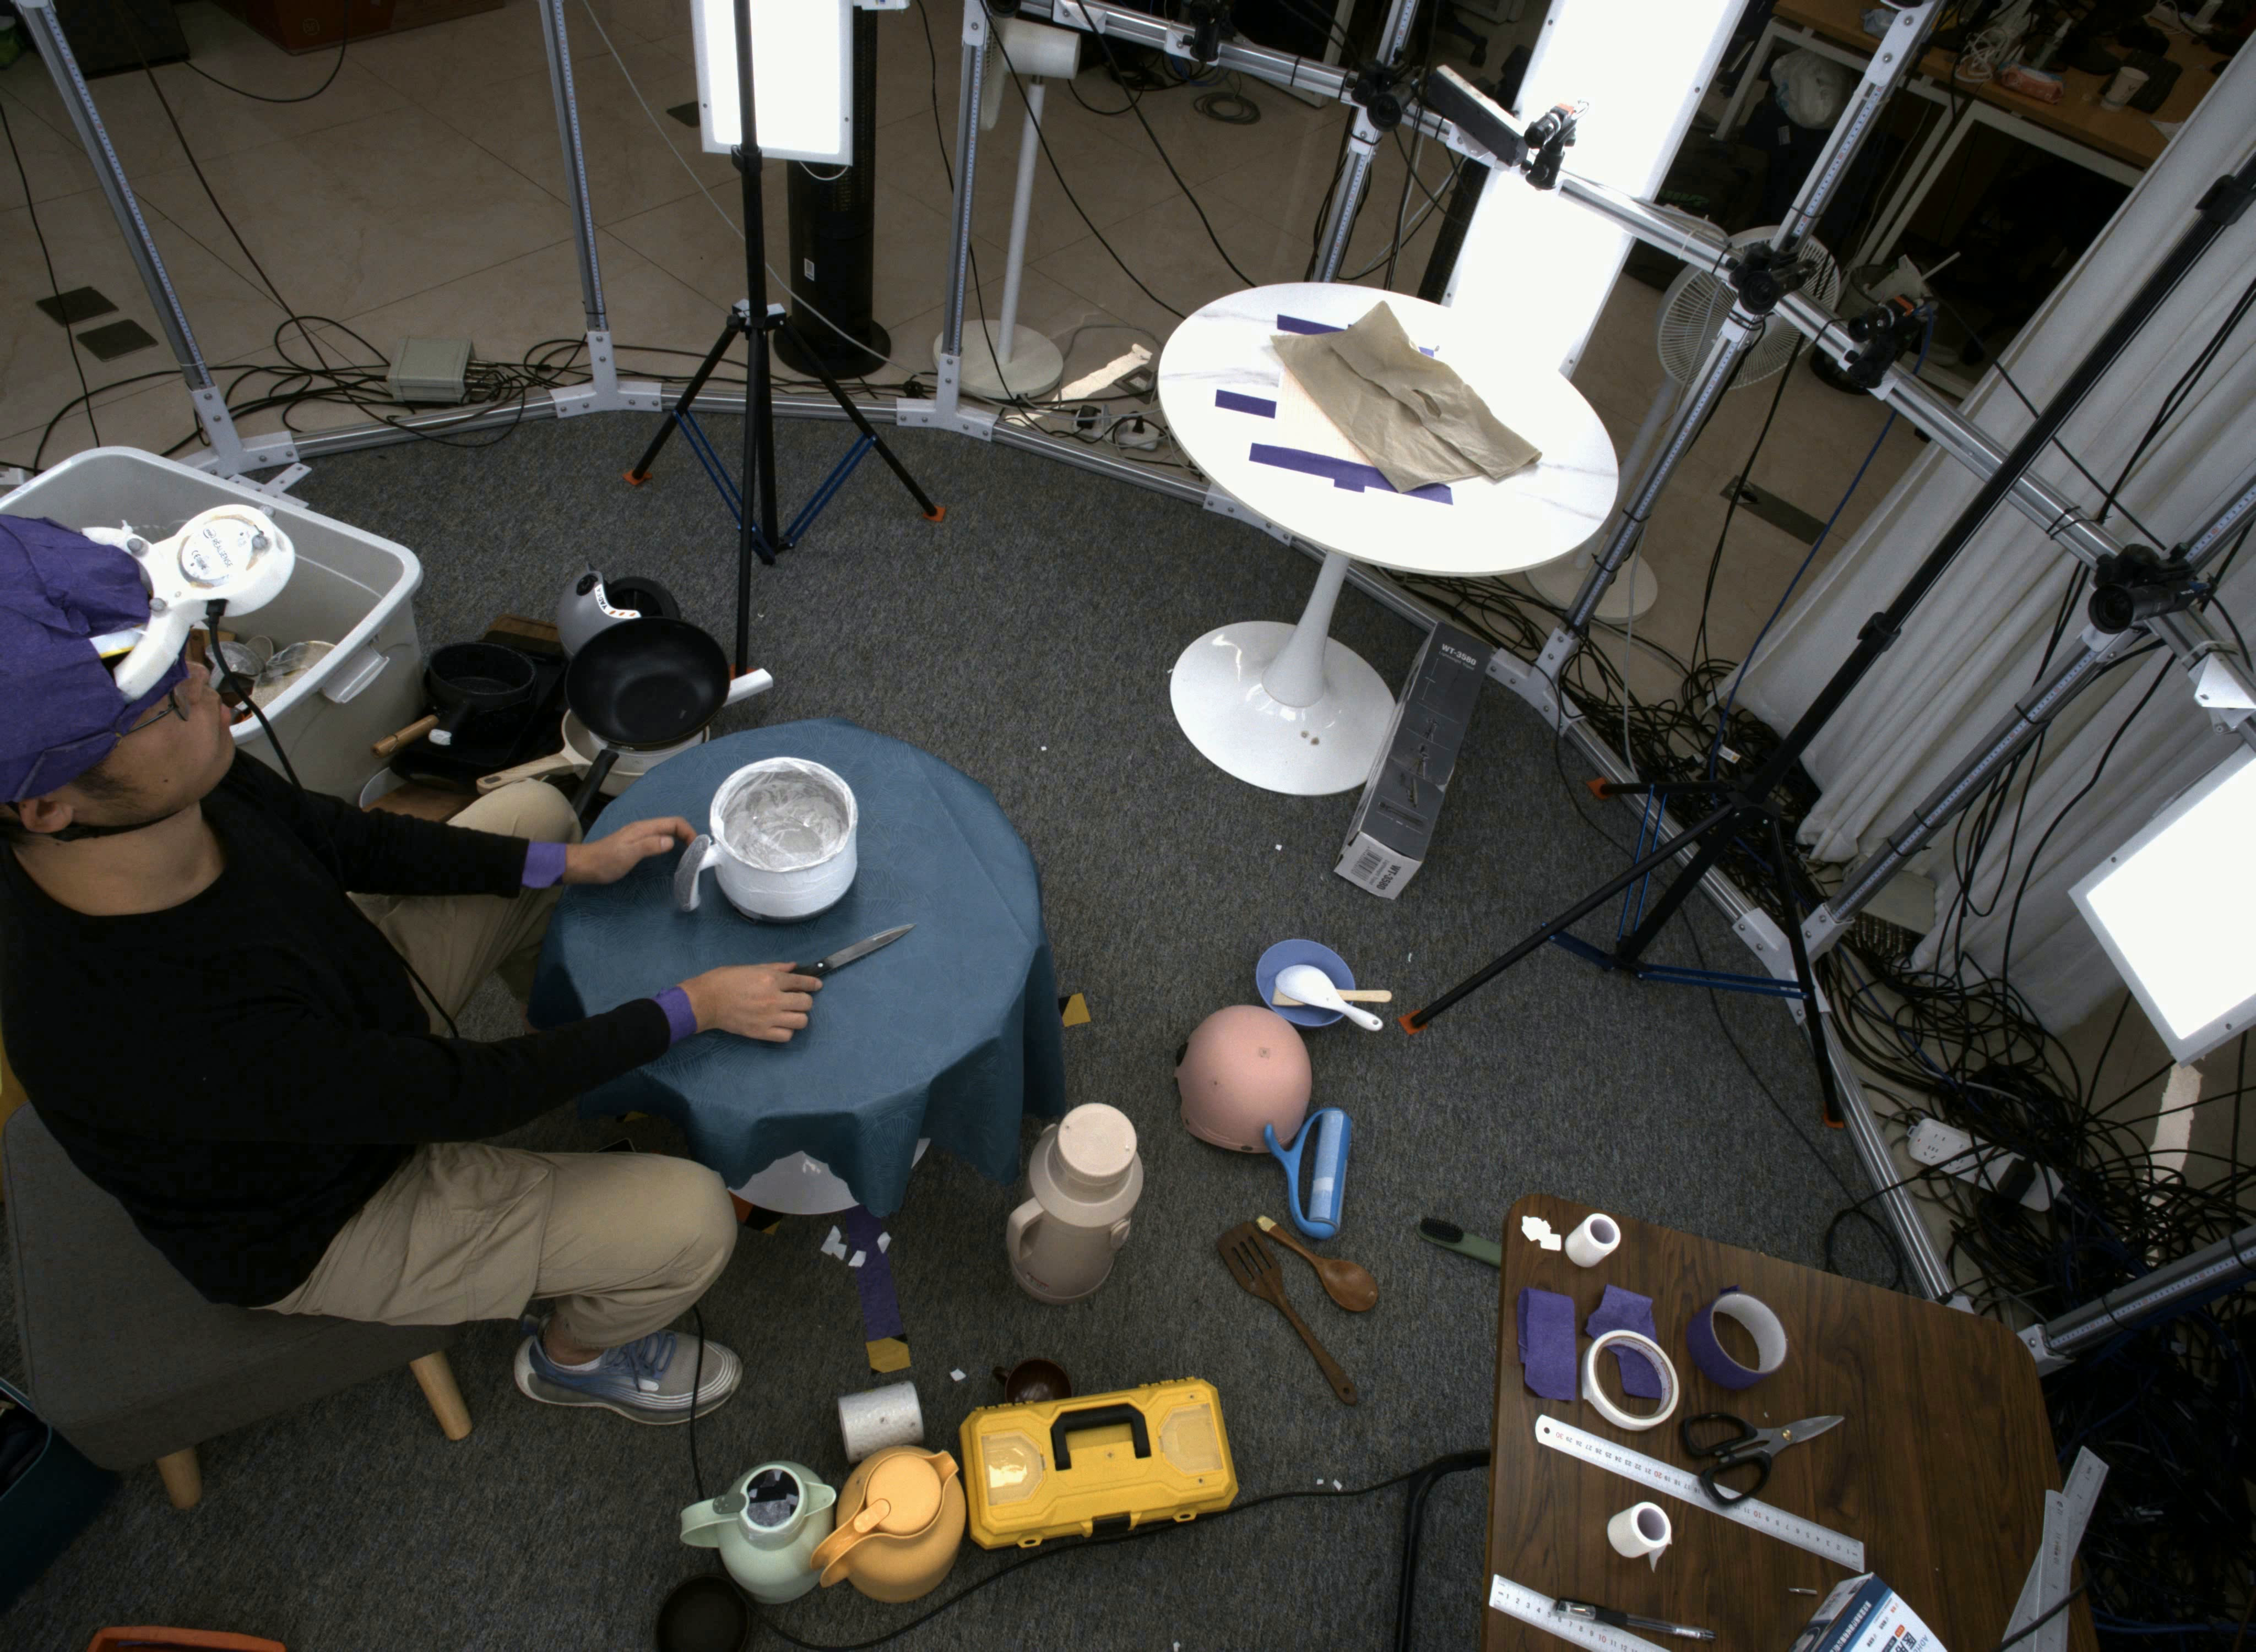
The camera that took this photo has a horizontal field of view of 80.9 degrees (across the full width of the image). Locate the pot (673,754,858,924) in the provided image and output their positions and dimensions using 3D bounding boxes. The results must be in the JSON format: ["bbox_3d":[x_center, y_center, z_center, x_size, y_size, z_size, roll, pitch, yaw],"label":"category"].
[{"bbox_3d":[-0.450,0.028,1.602,0.235,0.139,0.174,-22,60,-29],"label":"pot"}]

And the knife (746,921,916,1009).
[{"bbox_3d":[-0.361,0.167,1.606,0.239,0.017,0.023,-26,49,-33],"label":"knife"}]
